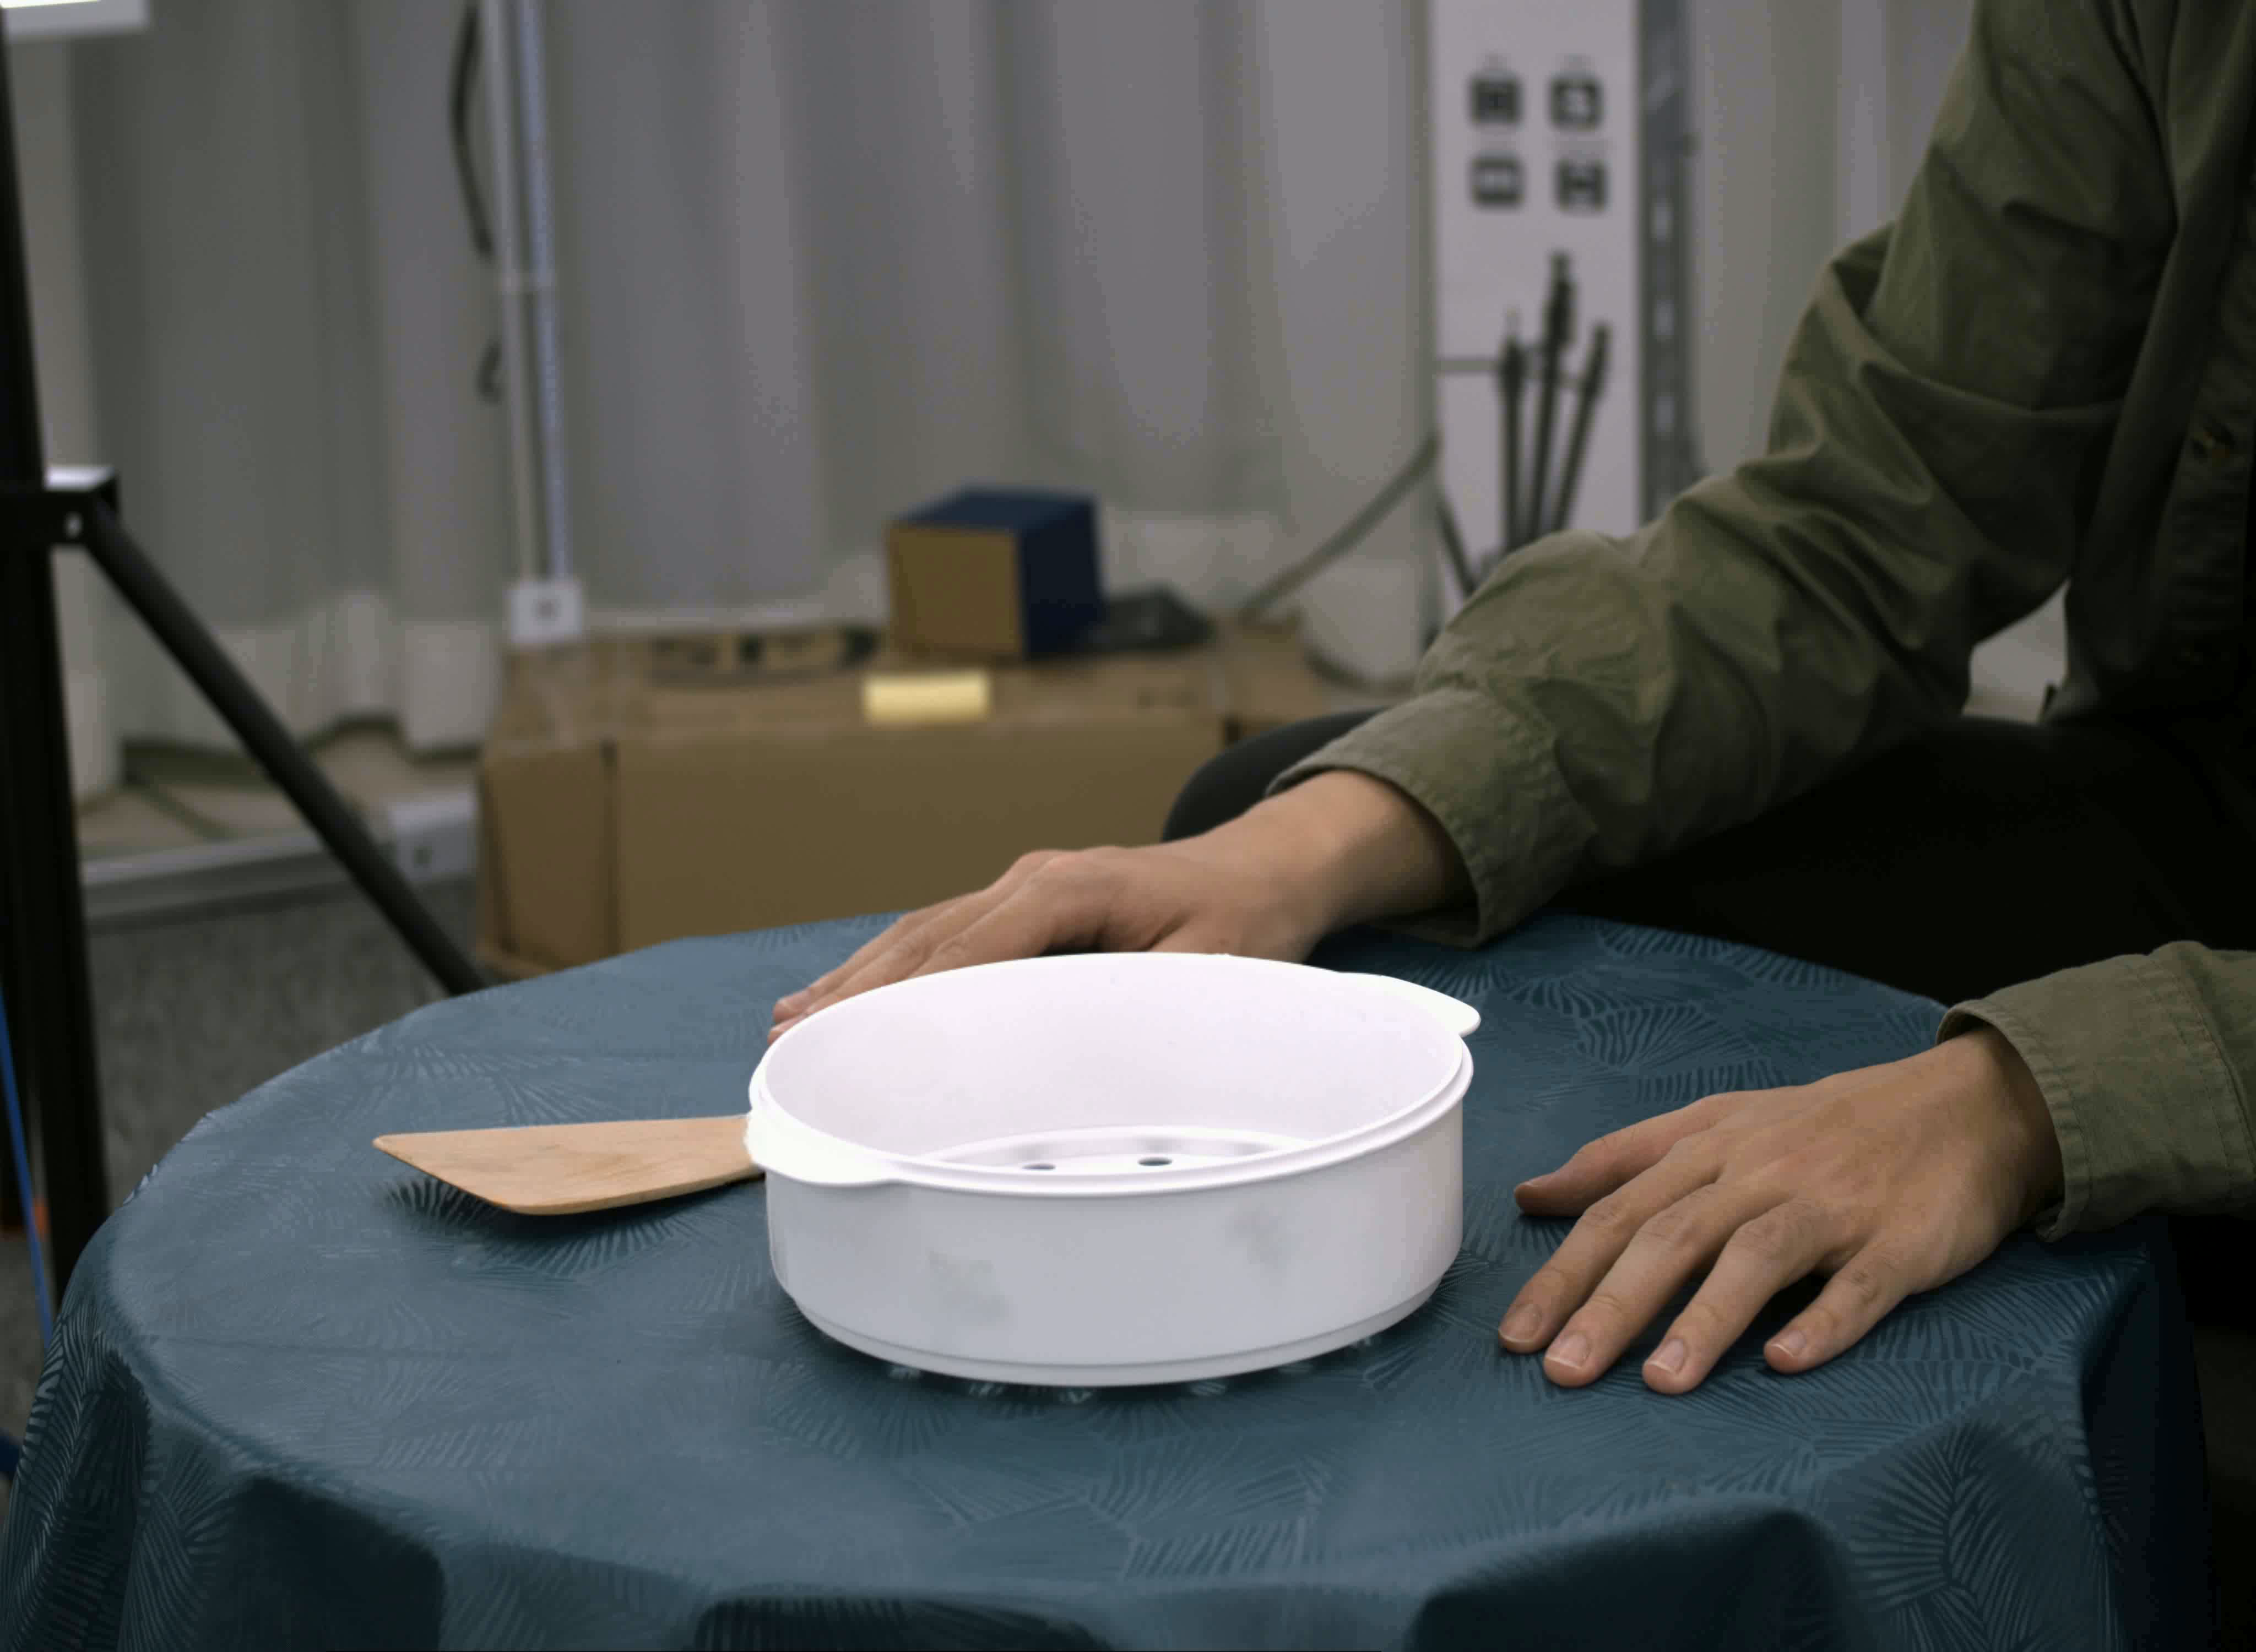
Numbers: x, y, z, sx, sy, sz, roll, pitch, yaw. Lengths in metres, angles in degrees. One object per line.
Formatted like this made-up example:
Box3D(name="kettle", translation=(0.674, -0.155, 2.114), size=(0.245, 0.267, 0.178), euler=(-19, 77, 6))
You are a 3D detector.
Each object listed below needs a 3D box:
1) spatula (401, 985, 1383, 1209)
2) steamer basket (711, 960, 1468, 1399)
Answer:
Box3D(name="spatula", translation=(-0.060, 0.080, 1.638), size=(0.320, 0.016, 0.081), euler=(-11, 19, -26))
Box3D(name="steamer basket", translation=(-0.008, 0.098, 1.482), size=(0.225, 0.069, 0.206), euler=(-11, 18, -31))
